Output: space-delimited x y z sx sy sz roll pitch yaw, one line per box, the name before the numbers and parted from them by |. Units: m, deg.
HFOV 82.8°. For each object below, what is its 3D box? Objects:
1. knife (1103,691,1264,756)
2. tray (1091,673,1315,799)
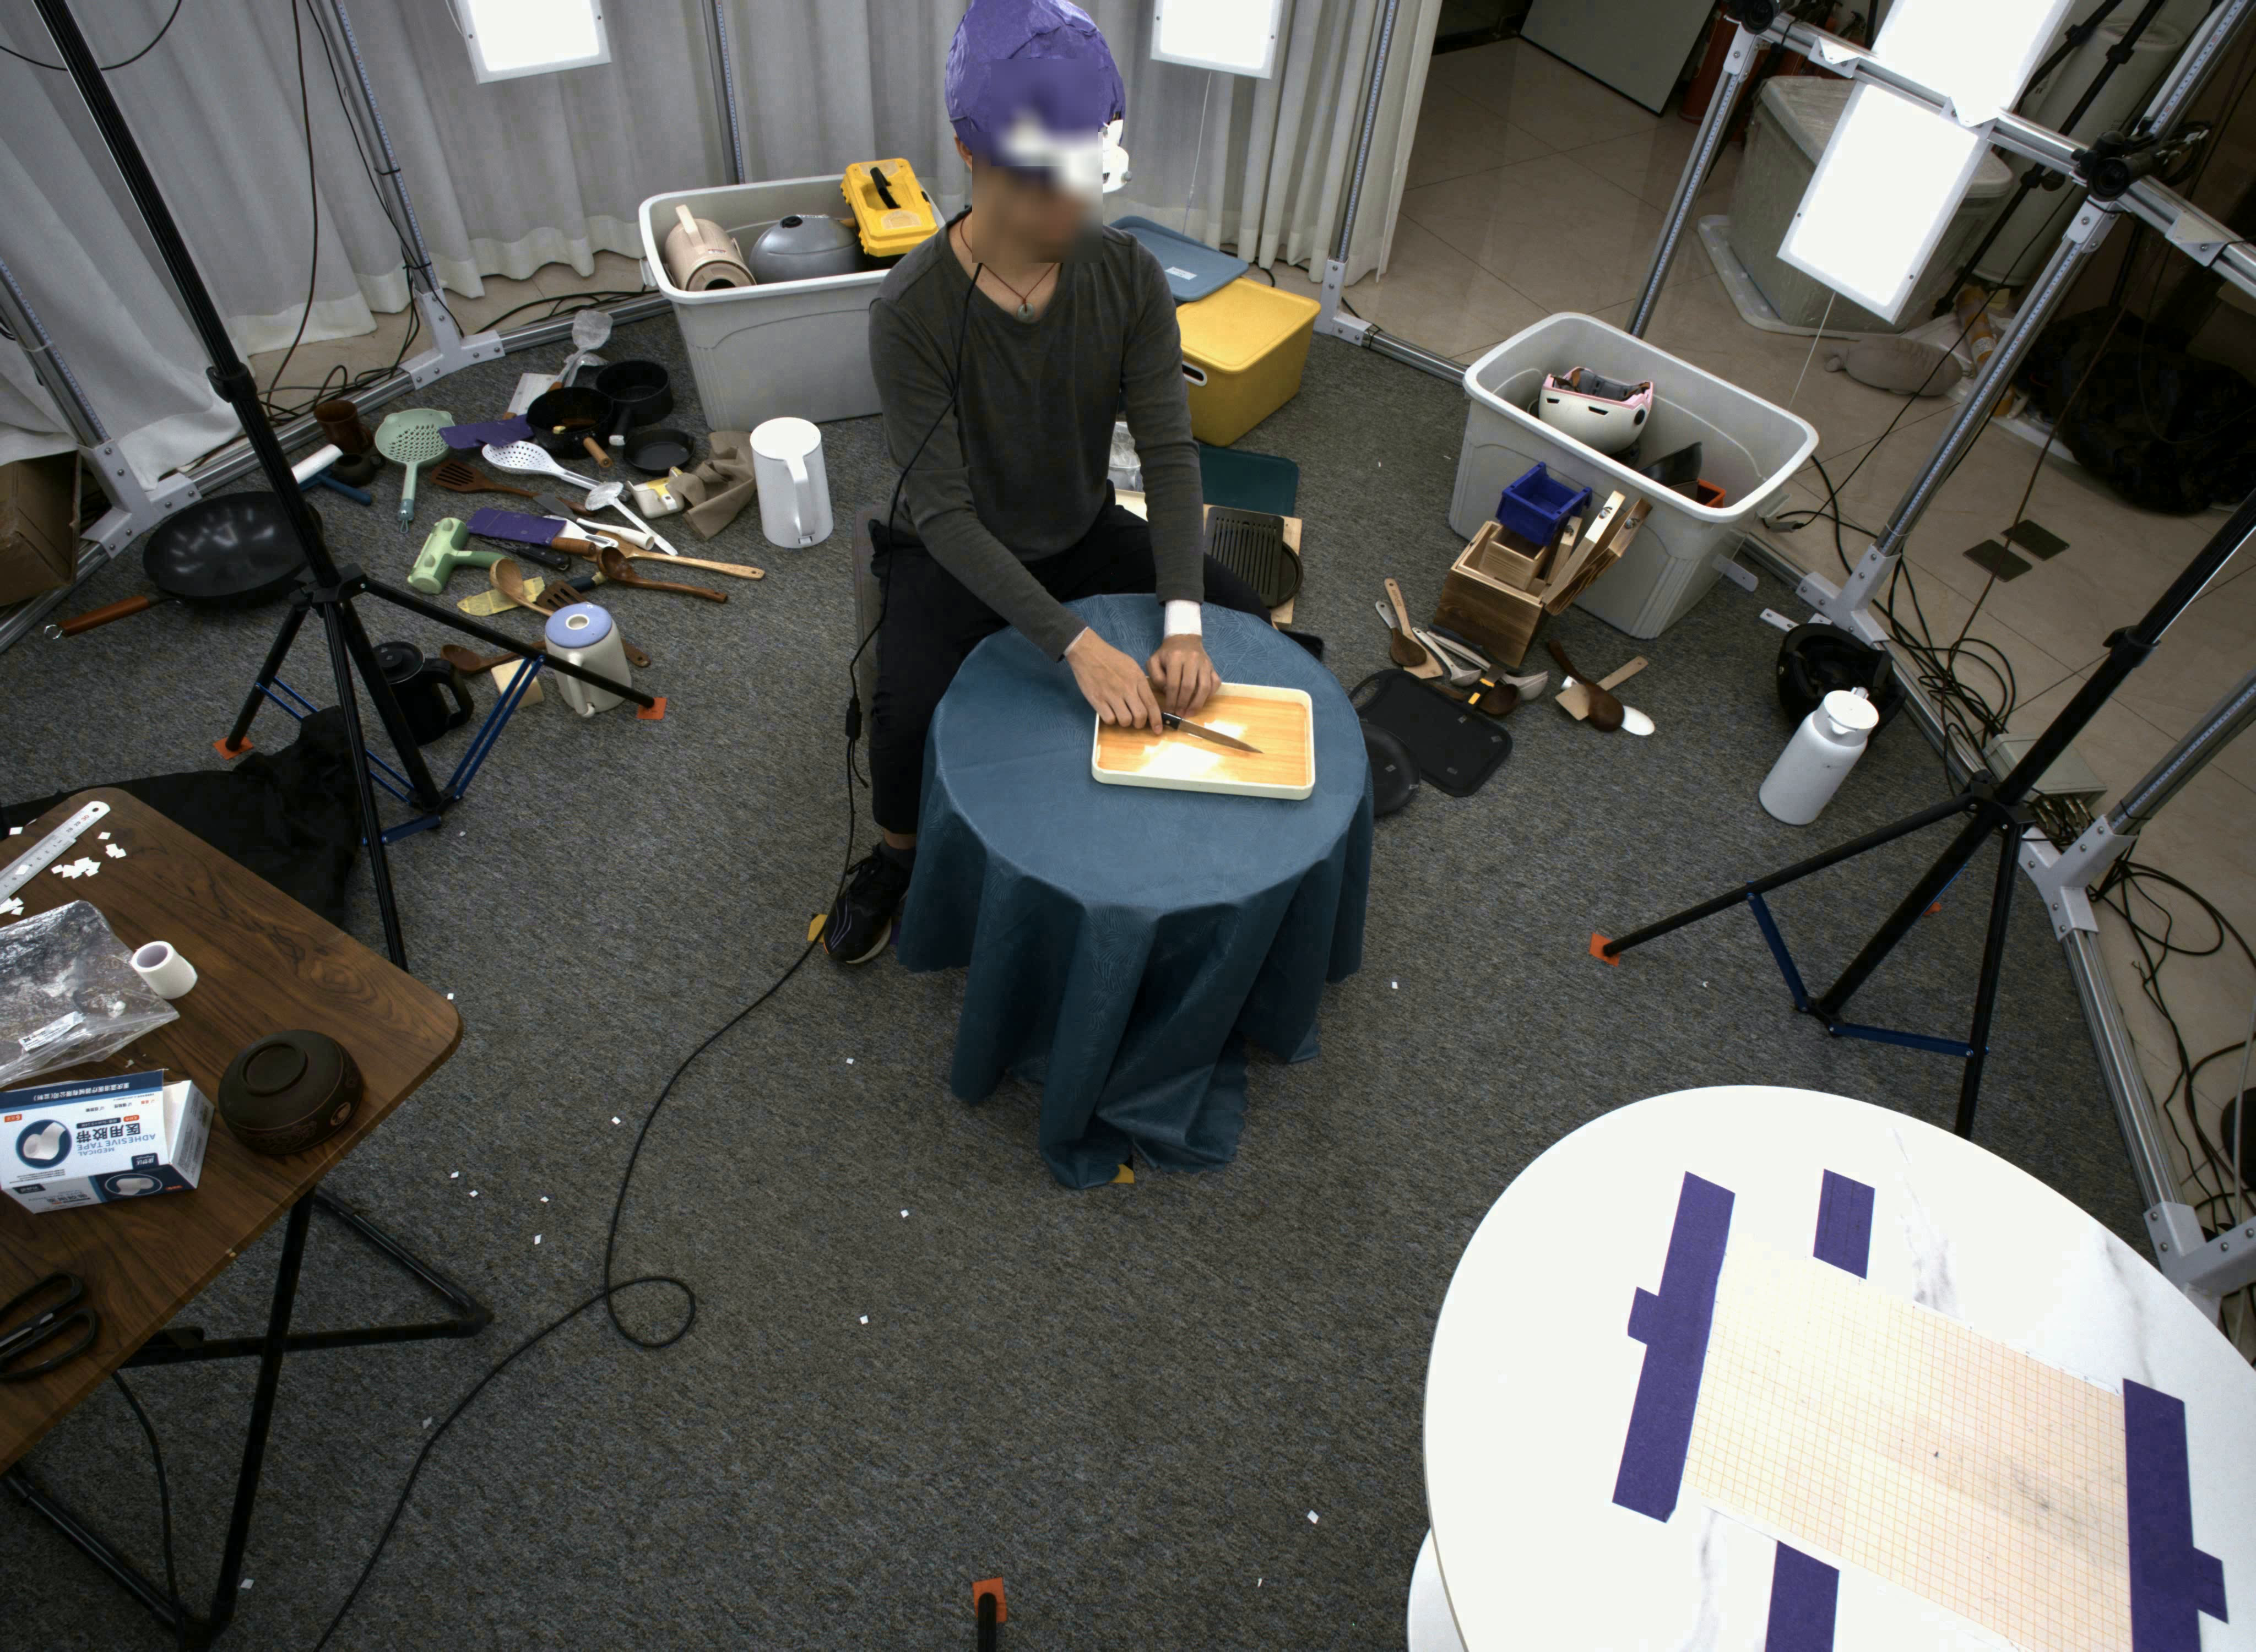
knife | 0.076 -0.140 1.766 0.239 0.024 0.016 21 54 10
tray | 0.104 -0.126 1.767 0.300 0.027 0.196 5 48 0
